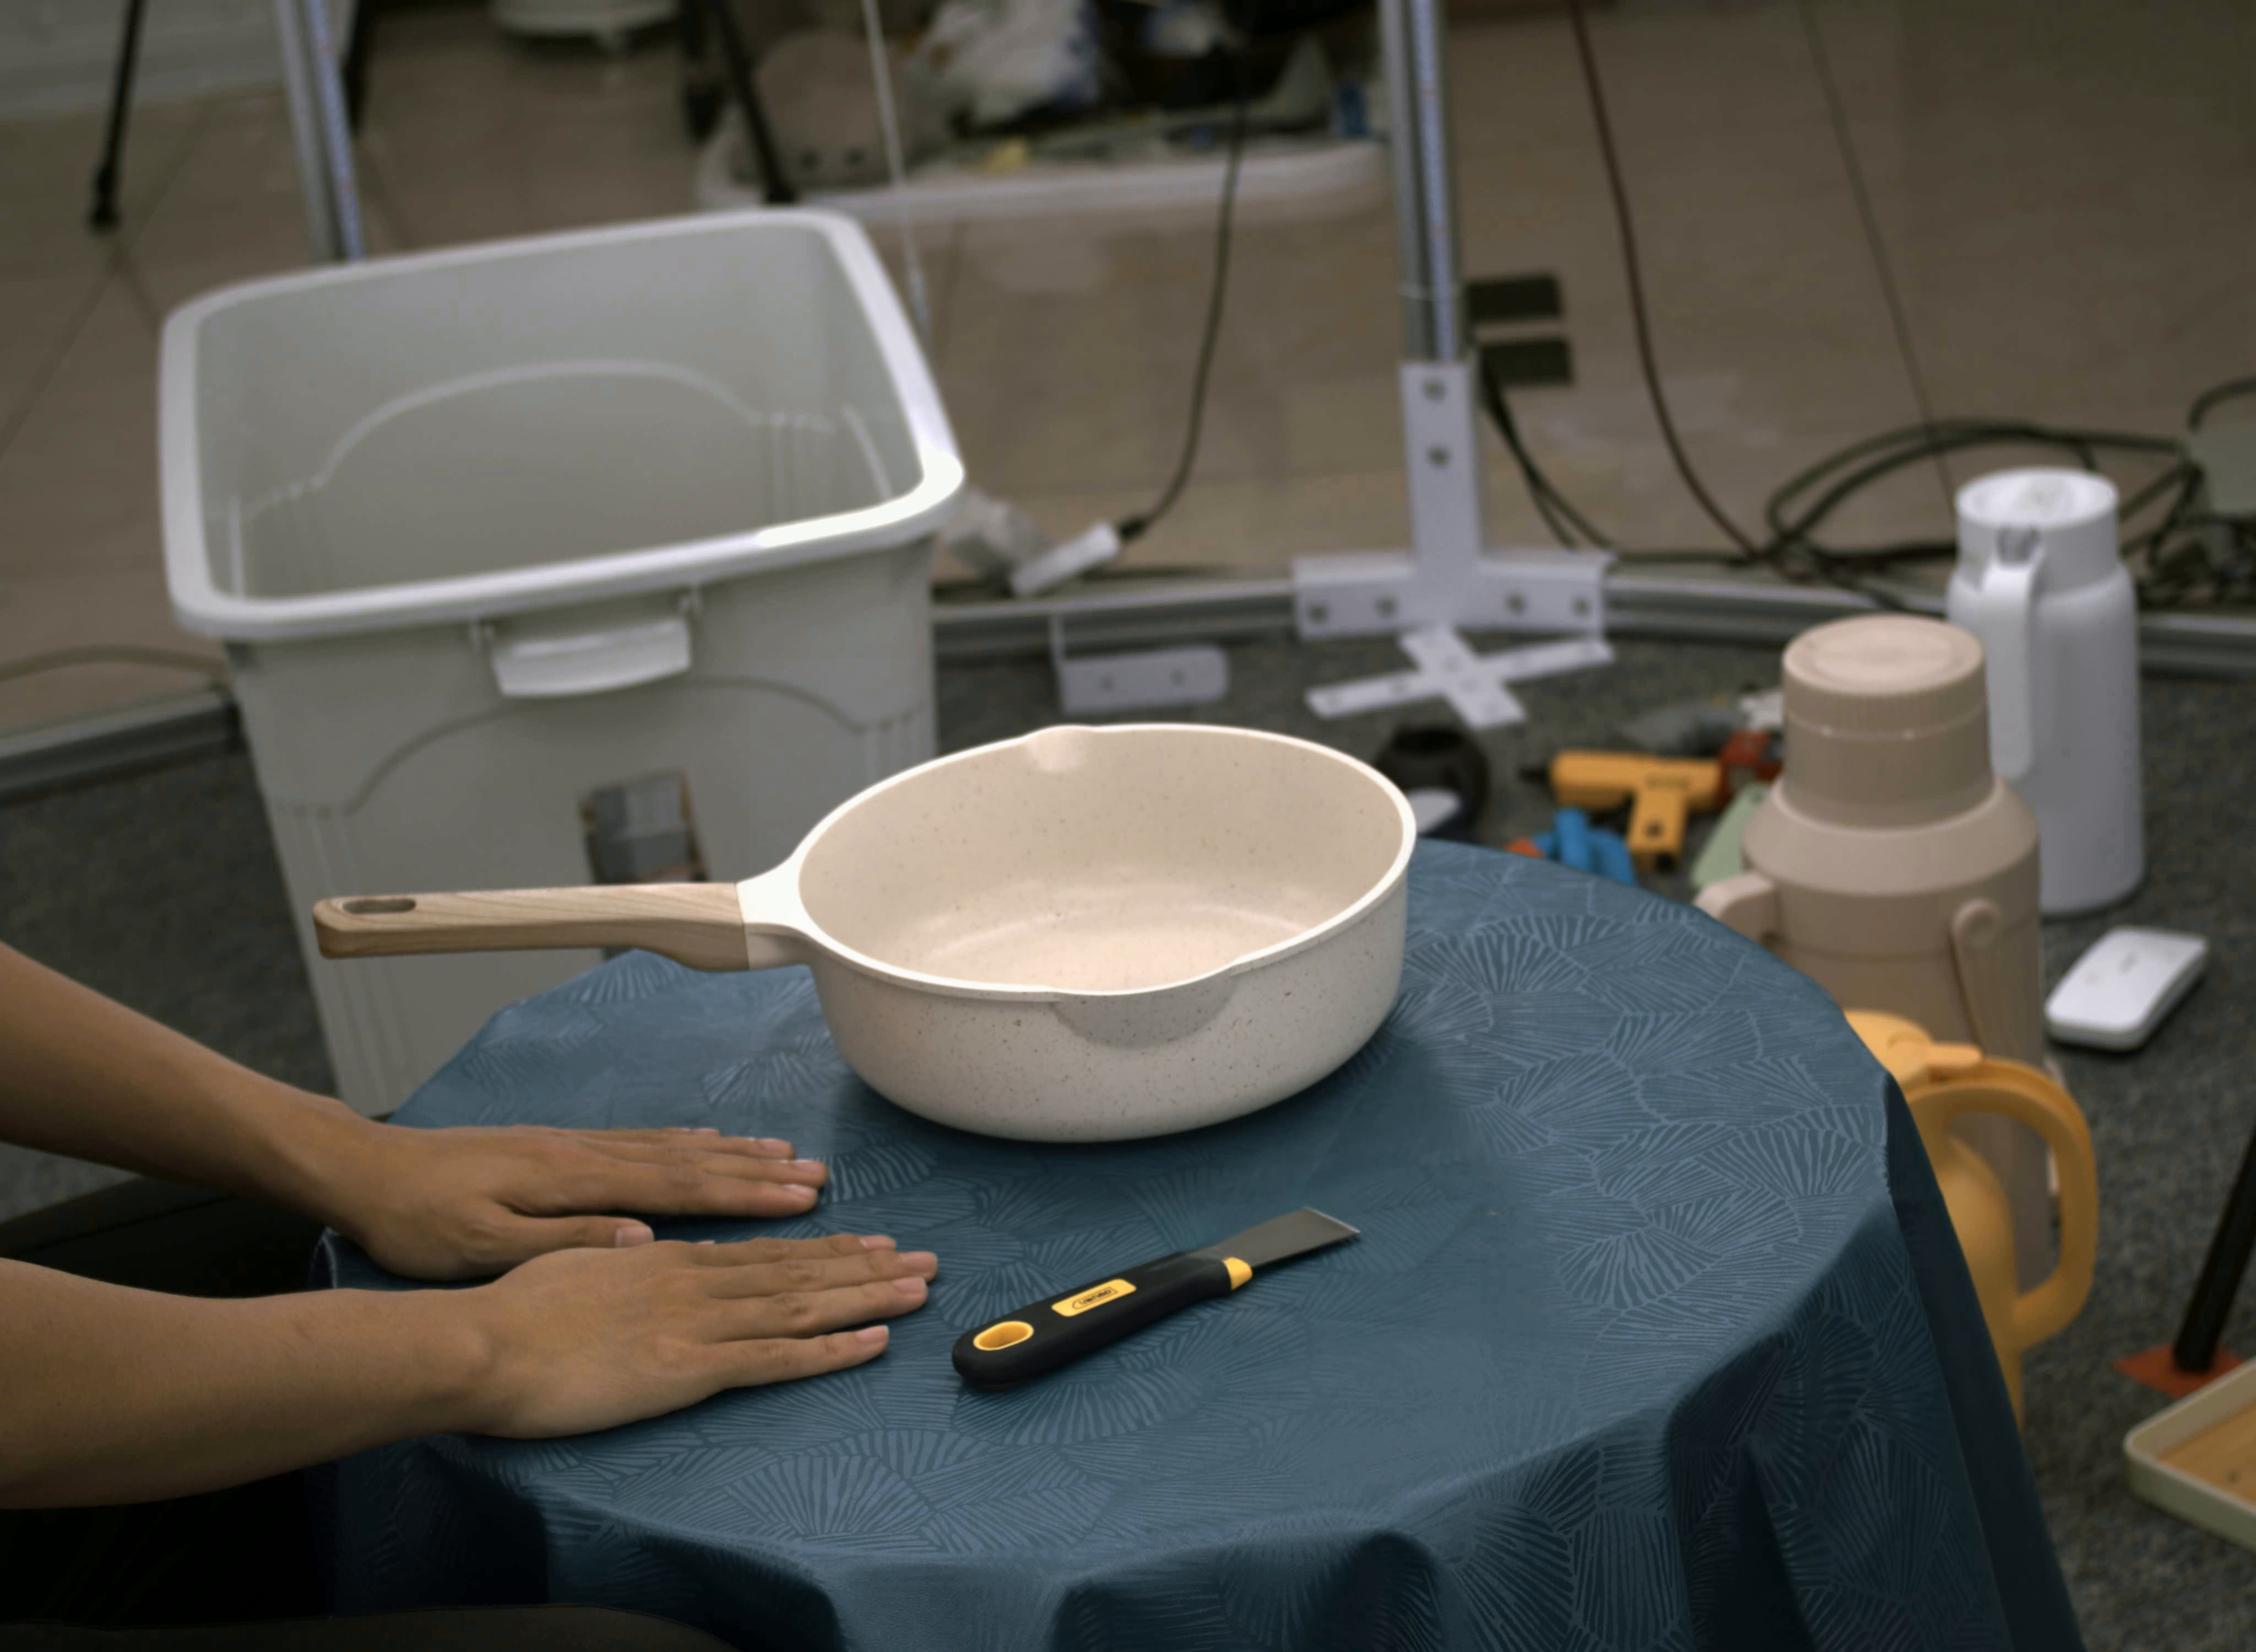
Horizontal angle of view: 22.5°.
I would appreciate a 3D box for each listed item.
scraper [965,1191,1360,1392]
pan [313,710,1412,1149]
[{"bbox_3d":[0.011,0.169,2.066,0.170,0.015,0.038,-21,33,-34],"label":"scraper"},{"bbox_3d":[-0.100,0.052,2.250,0.434,0.104,0.259,-9,28,-5],"label":"pan"}]
